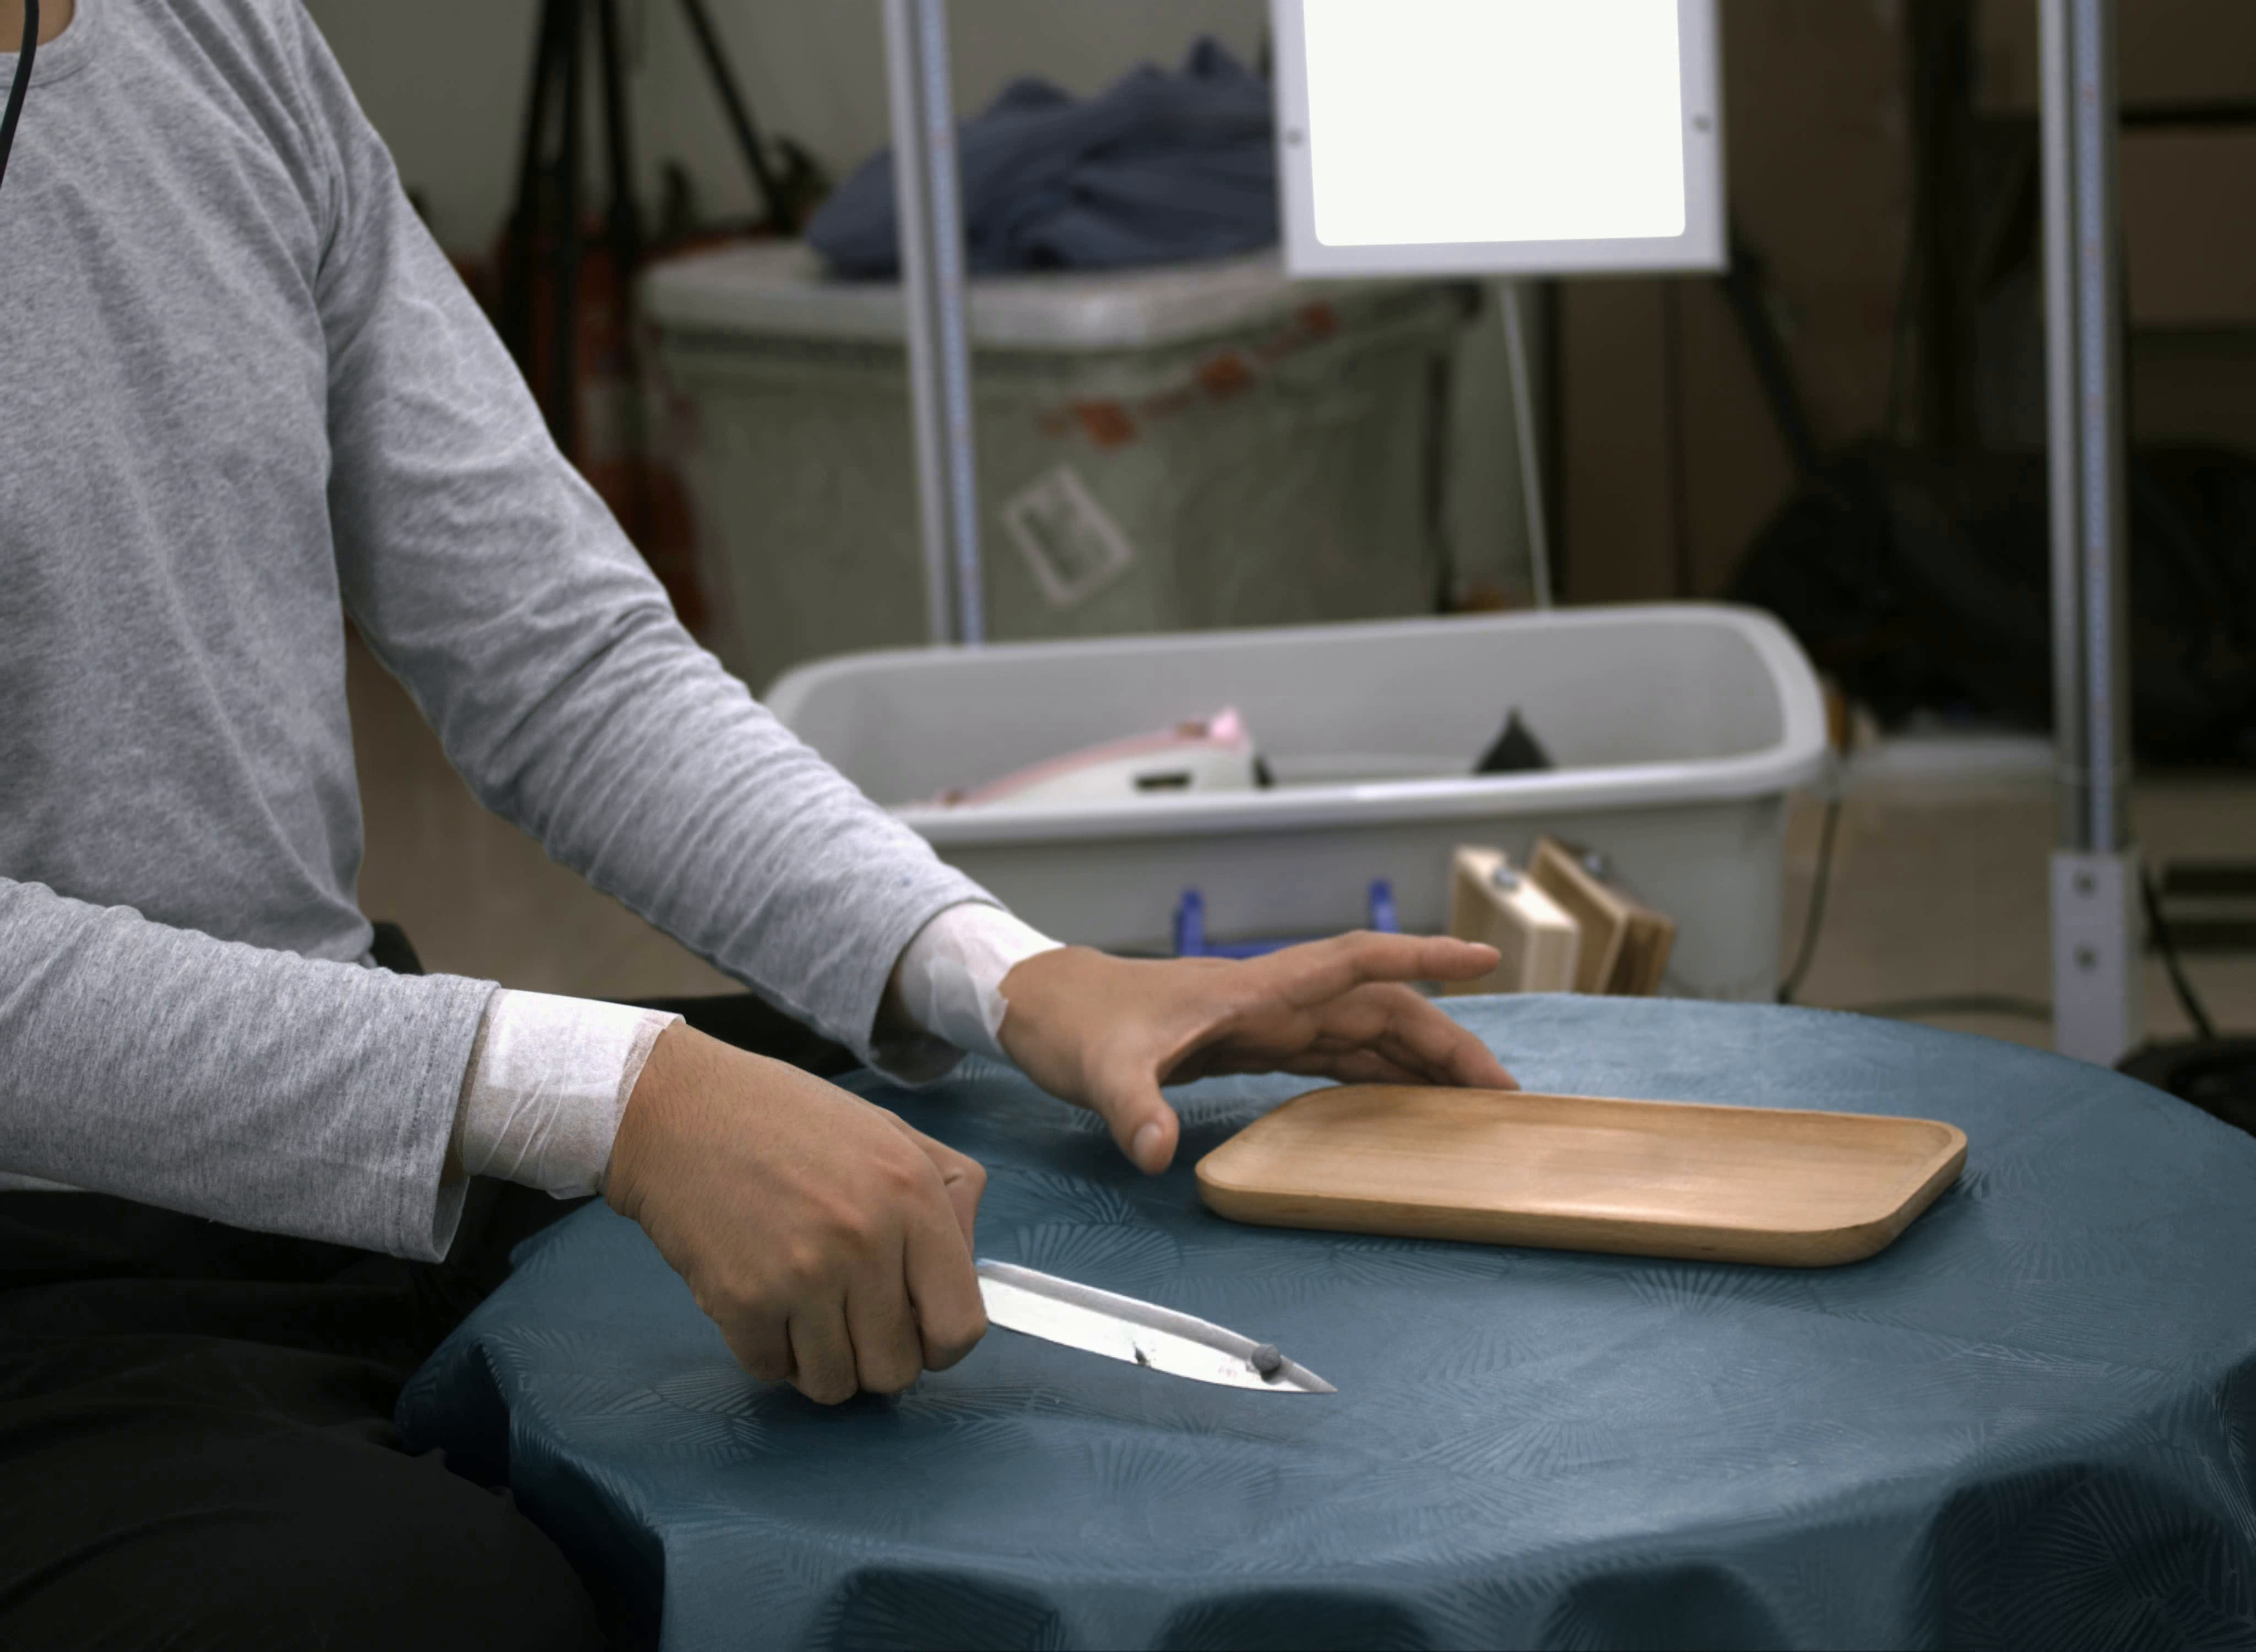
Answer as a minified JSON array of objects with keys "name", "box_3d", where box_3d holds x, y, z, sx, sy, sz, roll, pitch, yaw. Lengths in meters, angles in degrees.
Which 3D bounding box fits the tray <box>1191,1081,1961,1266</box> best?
[{"name":"tray","box_3d":[0.151,0.116,1.856,0.255,0.023,0.127,2,12,30]}]

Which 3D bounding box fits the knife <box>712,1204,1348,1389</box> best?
[{"name":"knife","box_3d":[-0.035,0.150,1.711,0.243,0.016,0.024,11,58,33]}]
